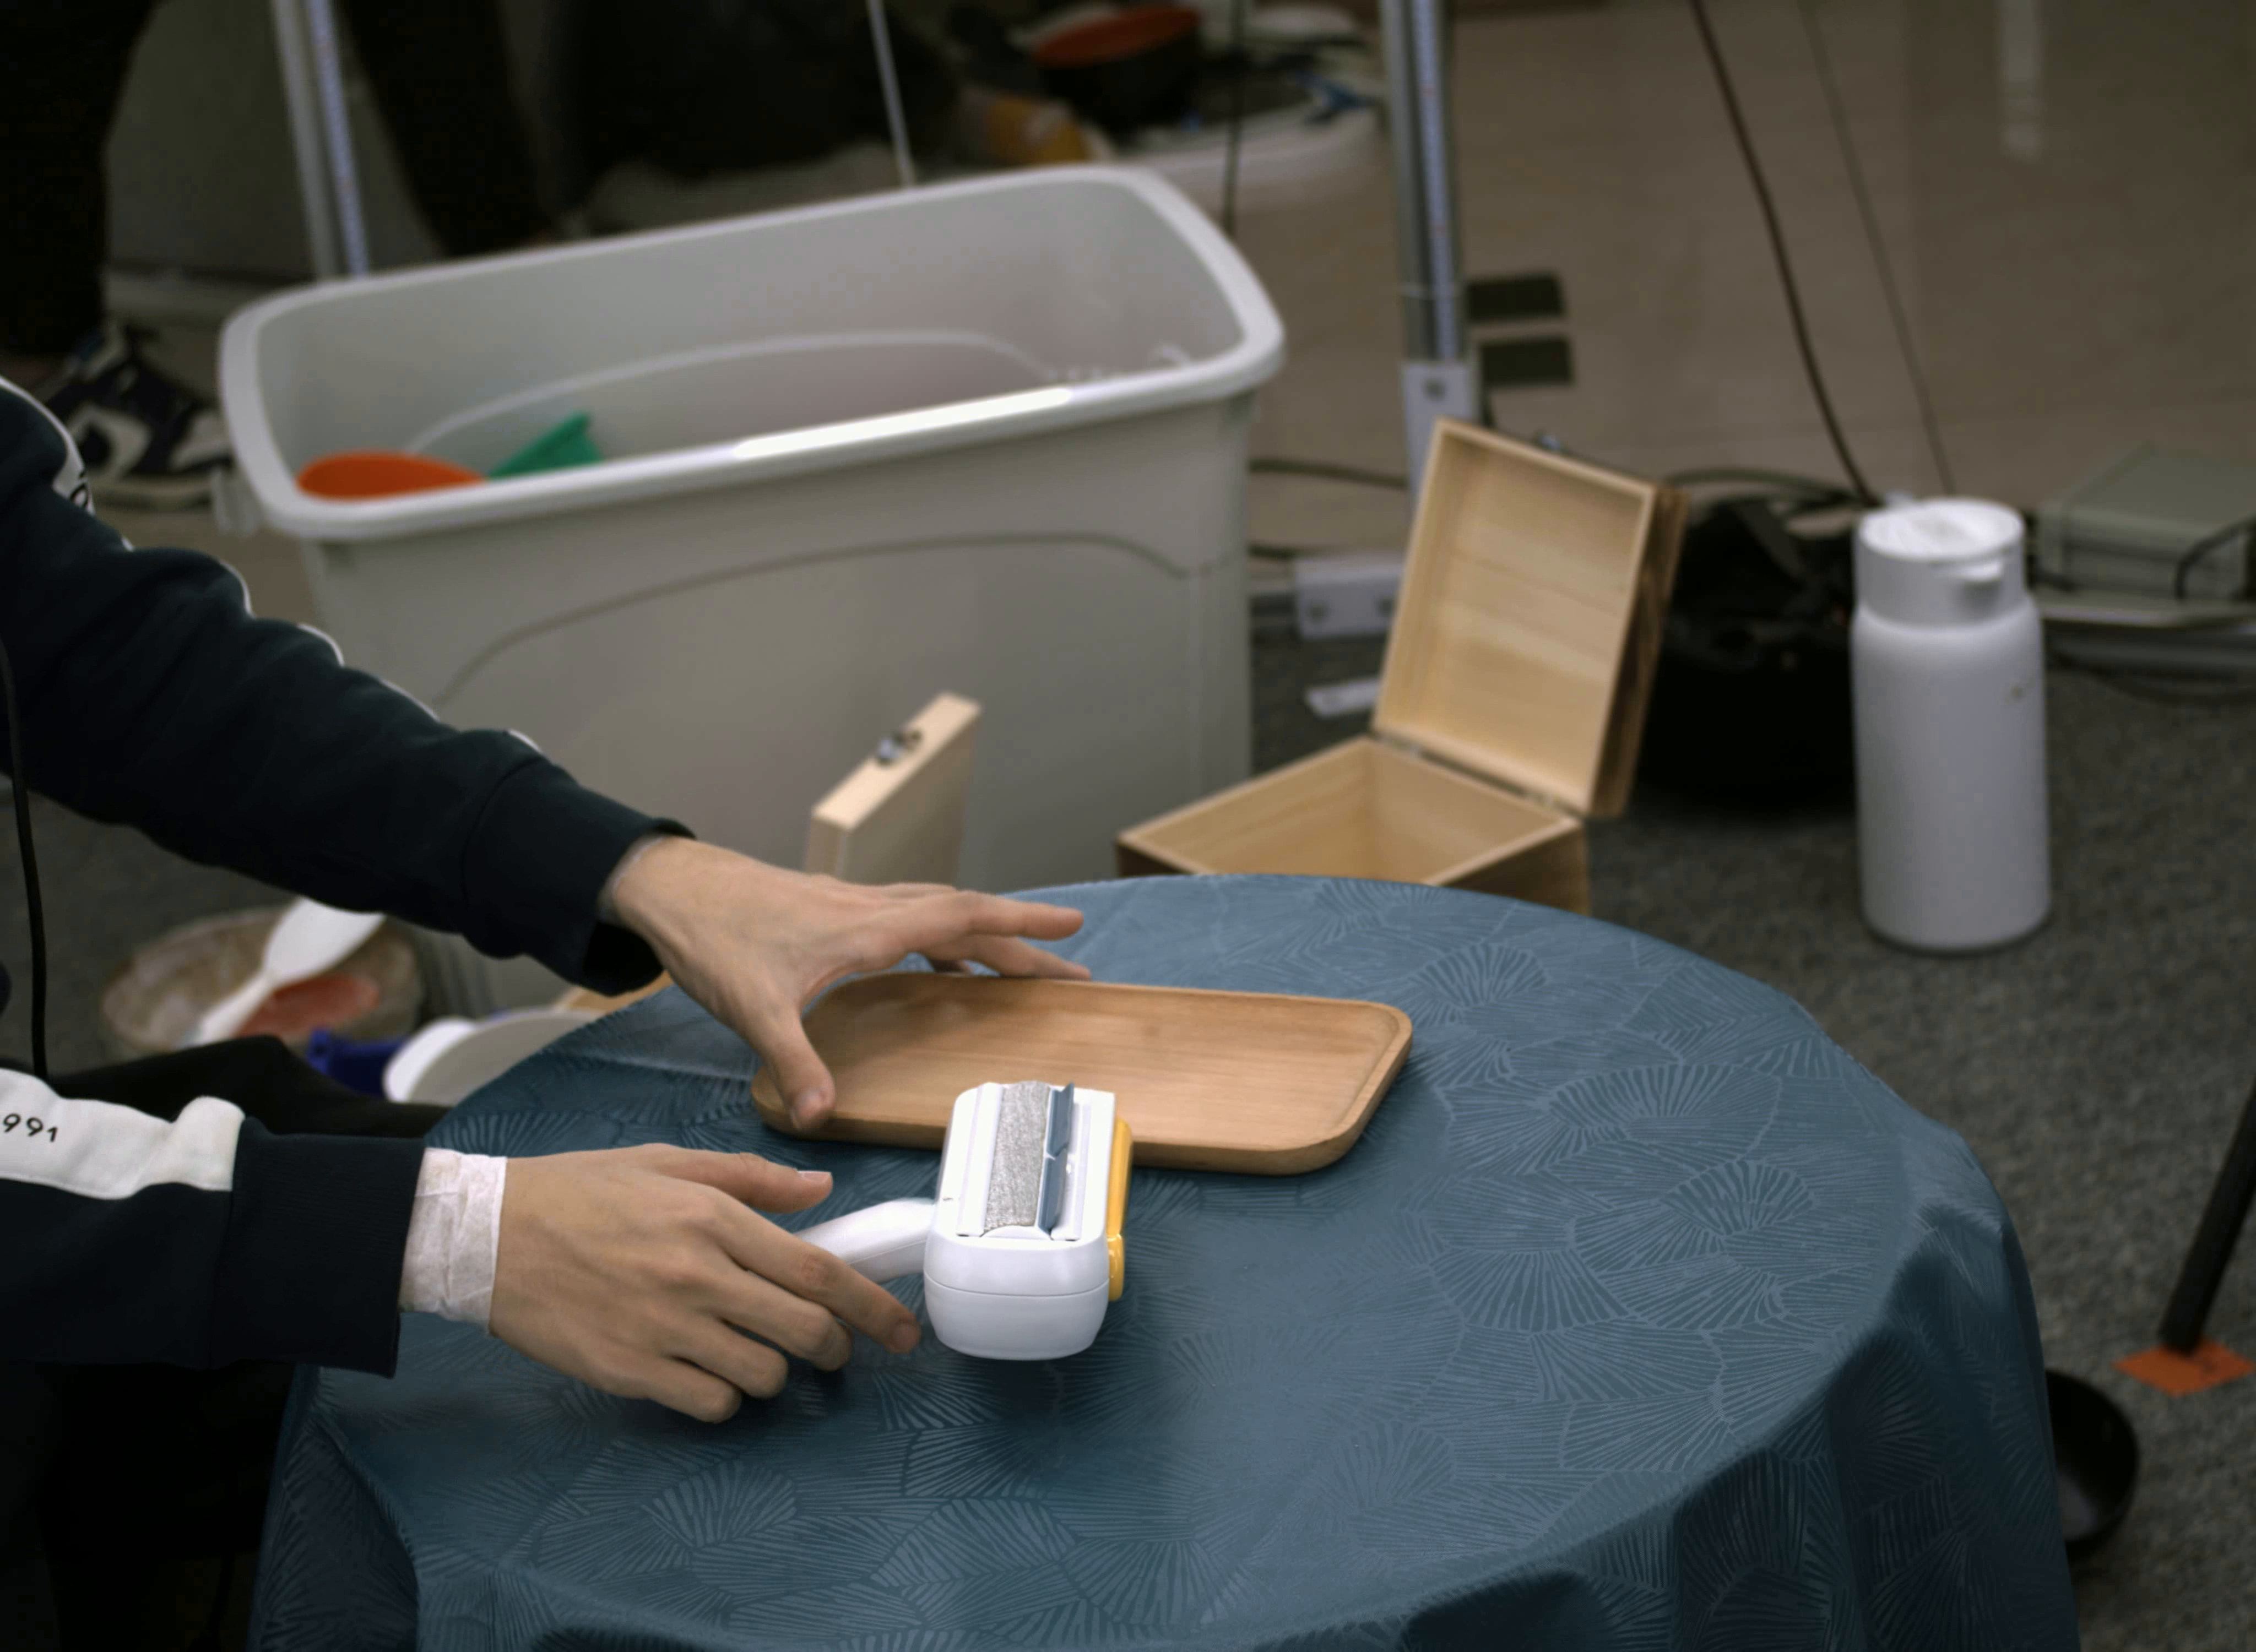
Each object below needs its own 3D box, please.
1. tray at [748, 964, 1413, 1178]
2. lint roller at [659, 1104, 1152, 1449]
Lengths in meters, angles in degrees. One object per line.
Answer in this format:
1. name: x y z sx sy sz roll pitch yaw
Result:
1. tray: -0.018 0.096 2.222 0.250 0.023 0.129 3 25 21
2. lint roller: -0.088 0.172 2.059 0.192 0.075 0.190 -17 16 12
